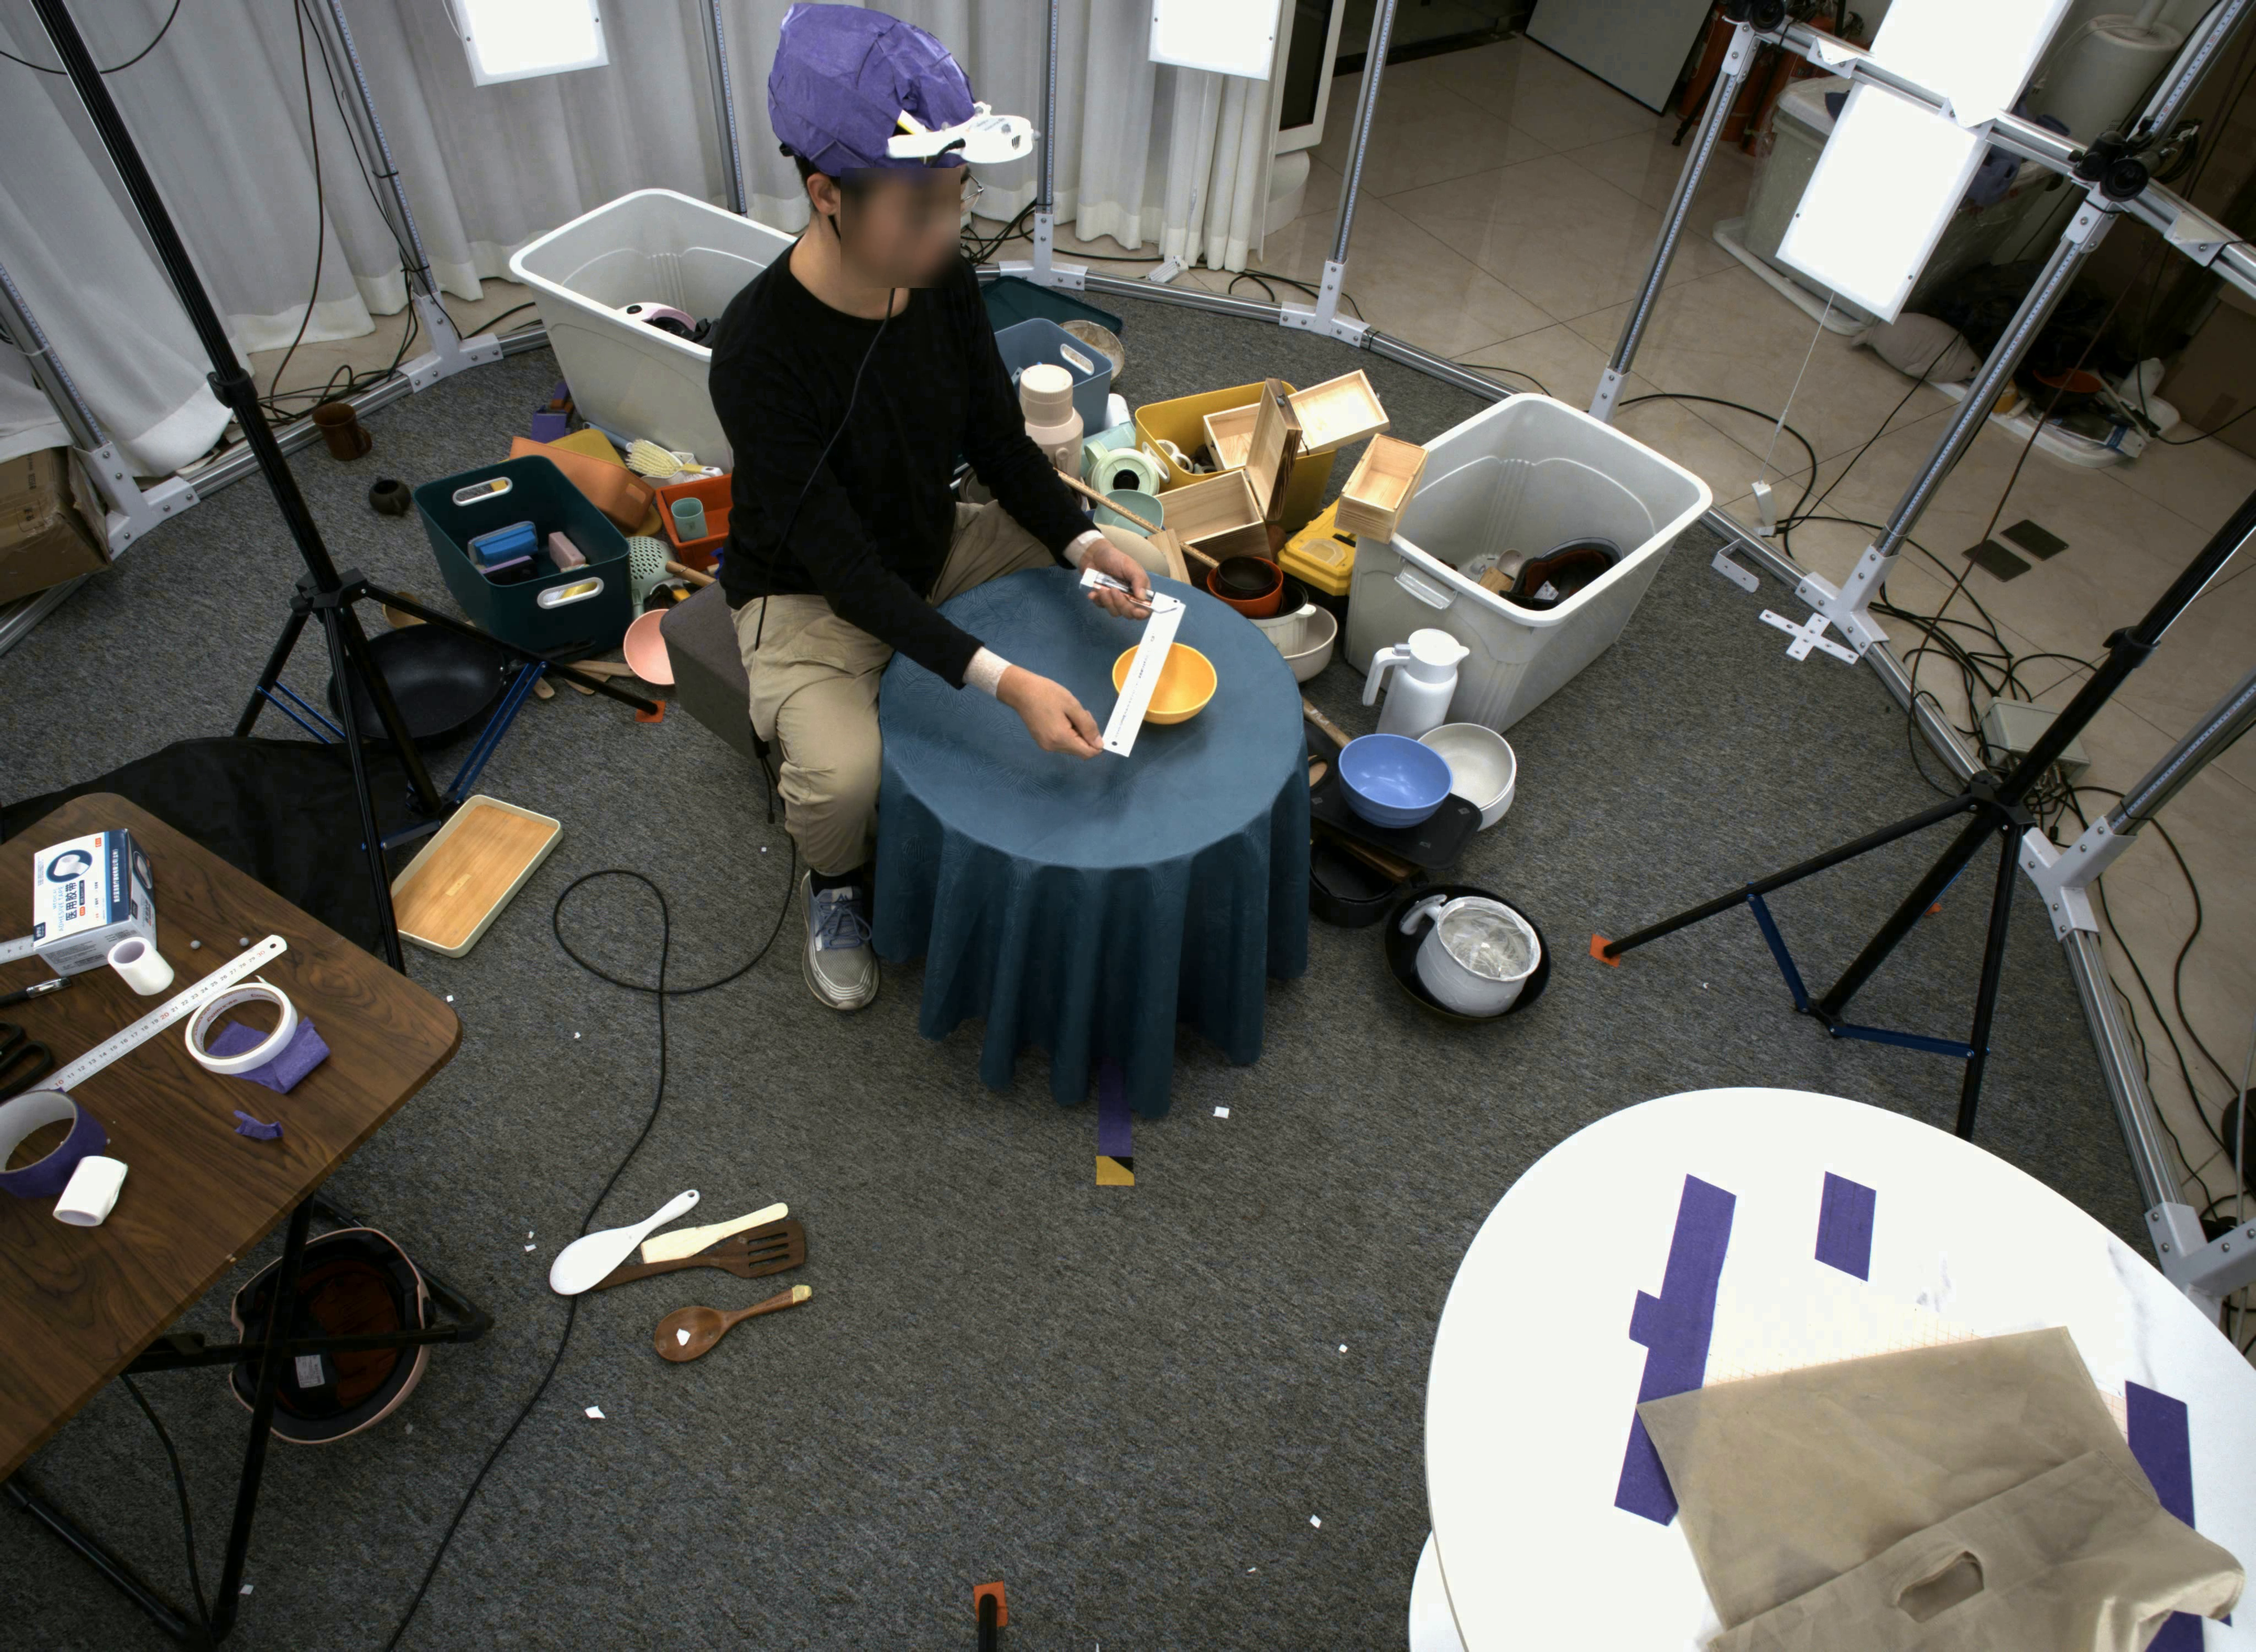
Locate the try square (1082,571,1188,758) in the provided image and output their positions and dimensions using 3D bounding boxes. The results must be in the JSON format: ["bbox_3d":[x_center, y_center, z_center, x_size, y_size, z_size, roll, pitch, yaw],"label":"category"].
[{"bbox_3d":[-0.026,-0.228,1.759,0.152,0.015,0.319,18,51,3],"label":"try square"}]

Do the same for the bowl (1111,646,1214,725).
[{"bbox_3d":[0.047,-0.187,1.801,0.145,0.058,0.149,1,46,-1],"label":"bowl"}]
